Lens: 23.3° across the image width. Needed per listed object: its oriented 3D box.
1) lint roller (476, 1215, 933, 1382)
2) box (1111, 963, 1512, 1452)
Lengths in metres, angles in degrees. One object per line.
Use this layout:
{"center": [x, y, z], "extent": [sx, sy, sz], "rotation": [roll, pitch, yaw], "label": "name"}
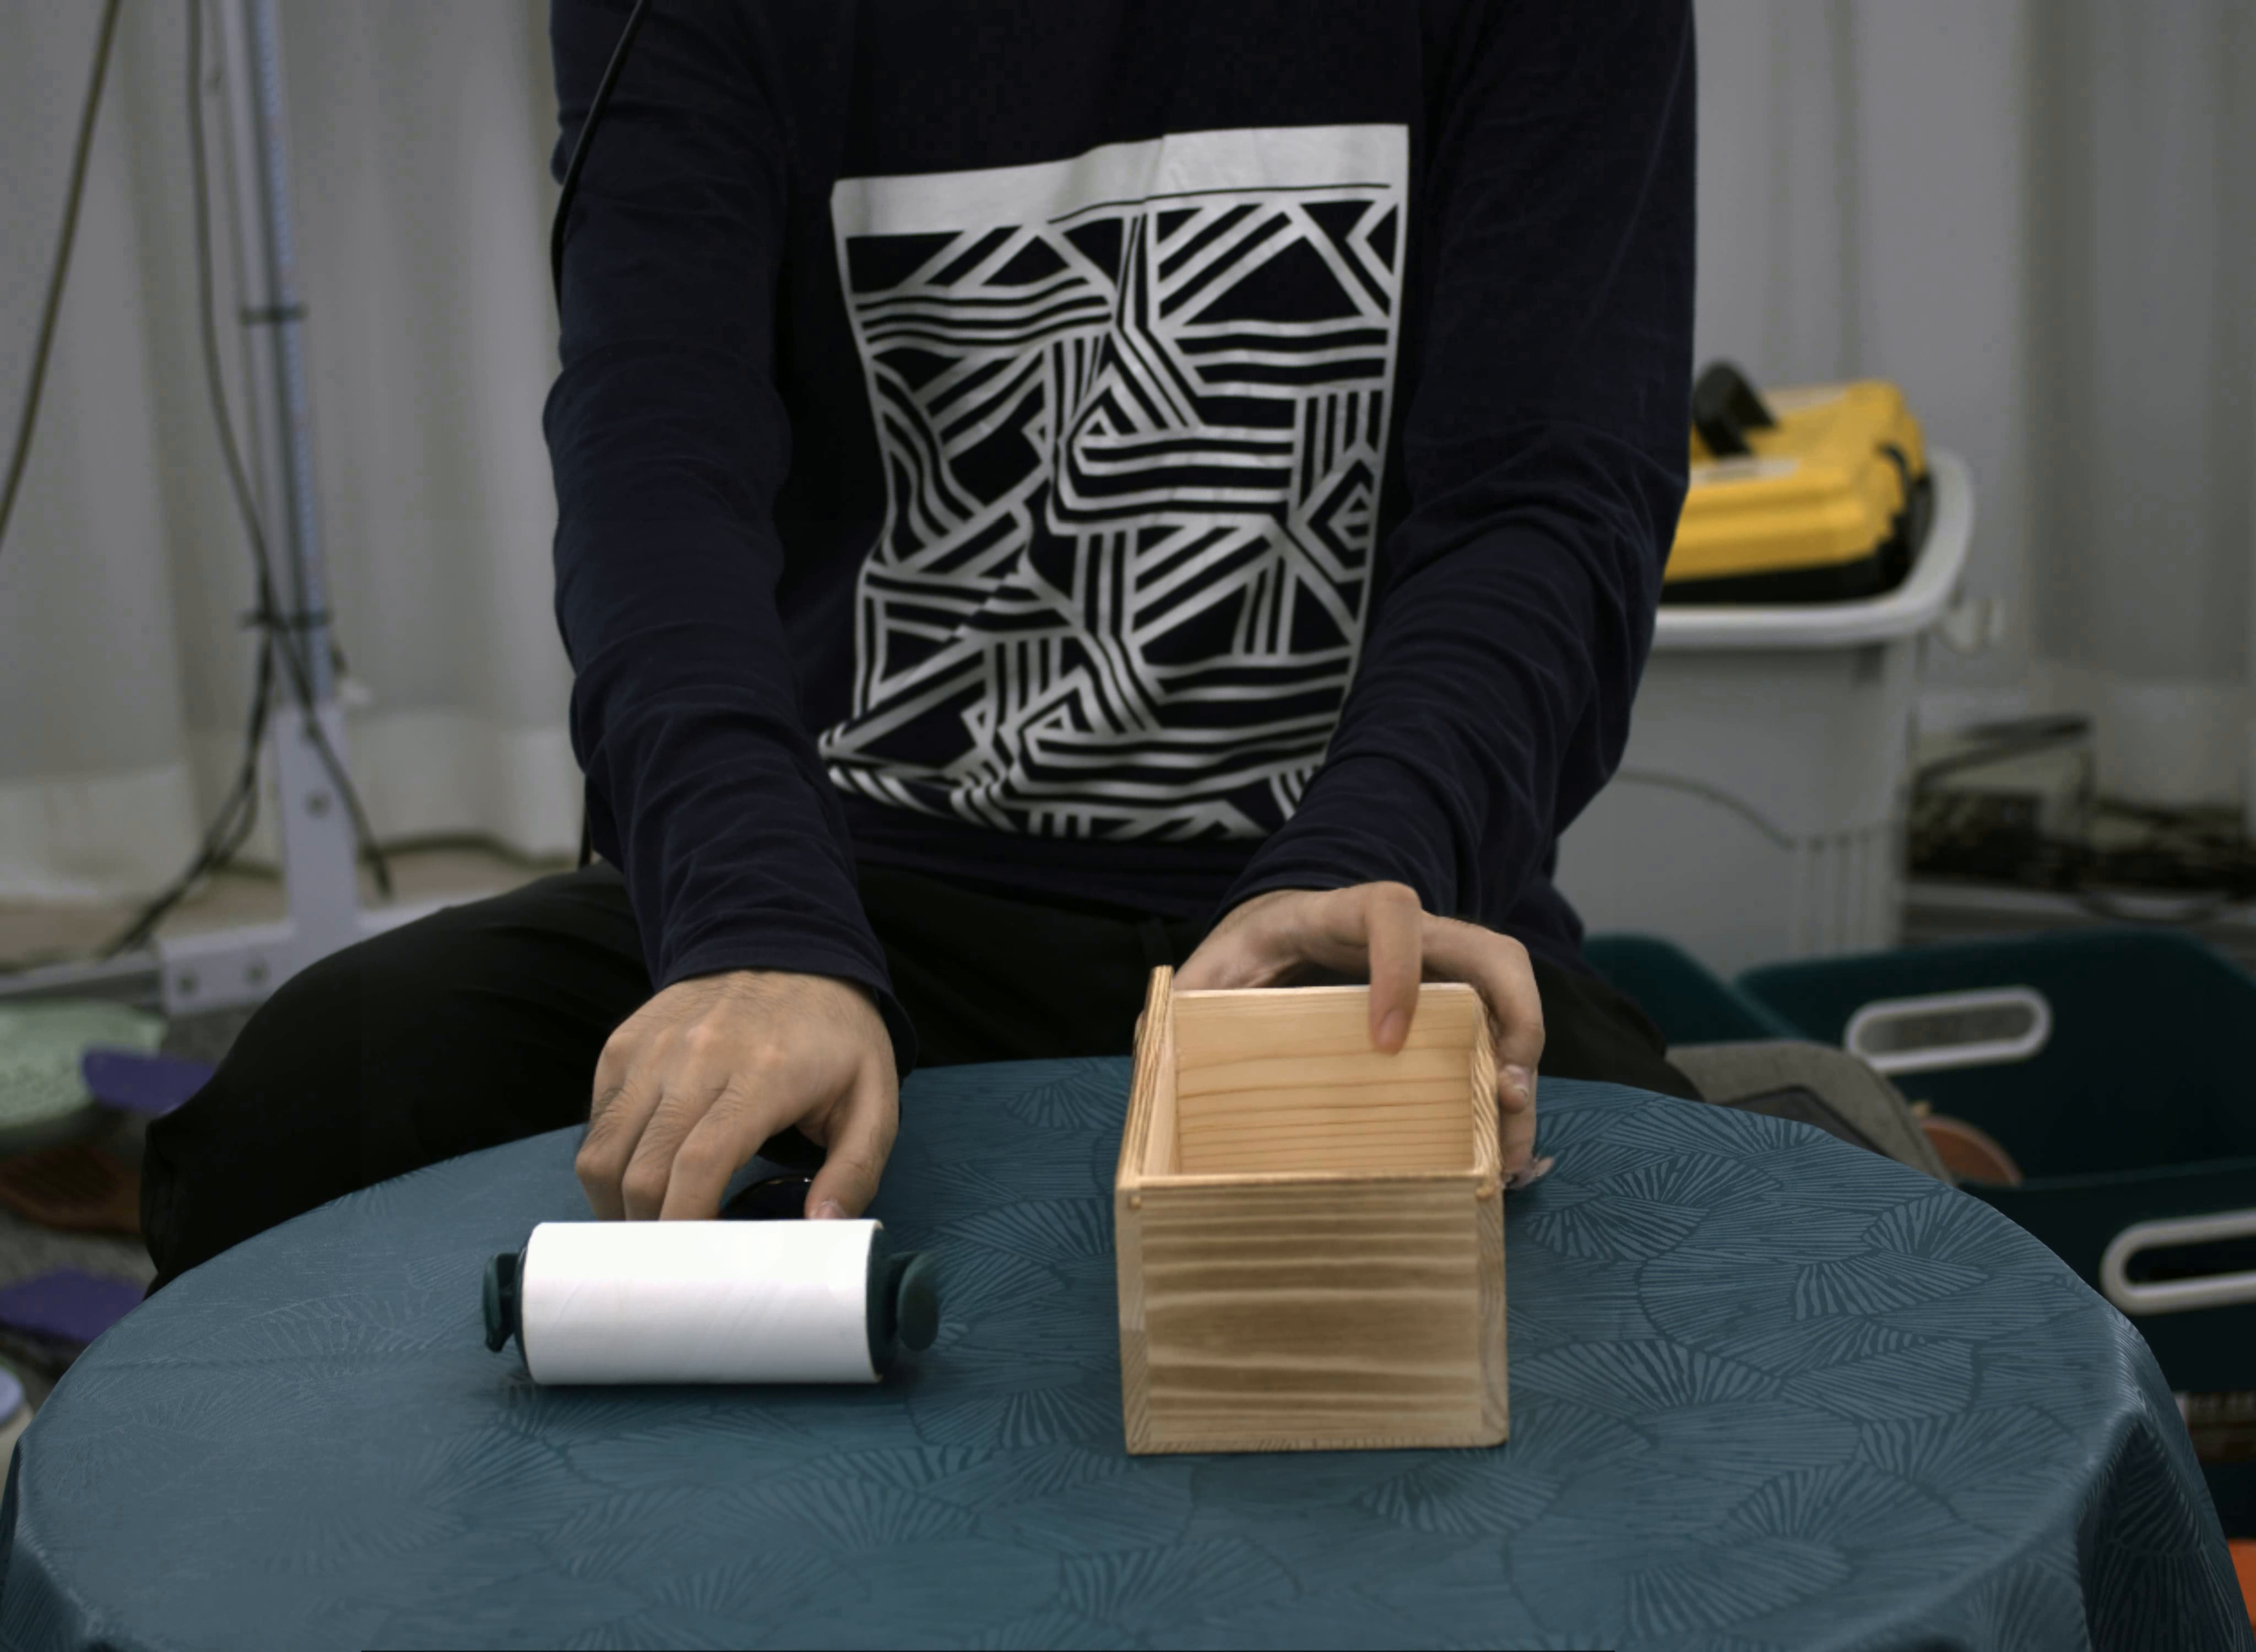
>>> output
{"center": [-0.114, 0.124, 1.631], "extent": [0.134, 0.048, 0.181], "rotation": [-1, 10, 7], "label": "lint roller"}
{"center": [0.055, 0.107, 1.583], "extent": [0.107, 0.080, 0.212], "rotation": [-3, 13, 3], "label": "box"}
